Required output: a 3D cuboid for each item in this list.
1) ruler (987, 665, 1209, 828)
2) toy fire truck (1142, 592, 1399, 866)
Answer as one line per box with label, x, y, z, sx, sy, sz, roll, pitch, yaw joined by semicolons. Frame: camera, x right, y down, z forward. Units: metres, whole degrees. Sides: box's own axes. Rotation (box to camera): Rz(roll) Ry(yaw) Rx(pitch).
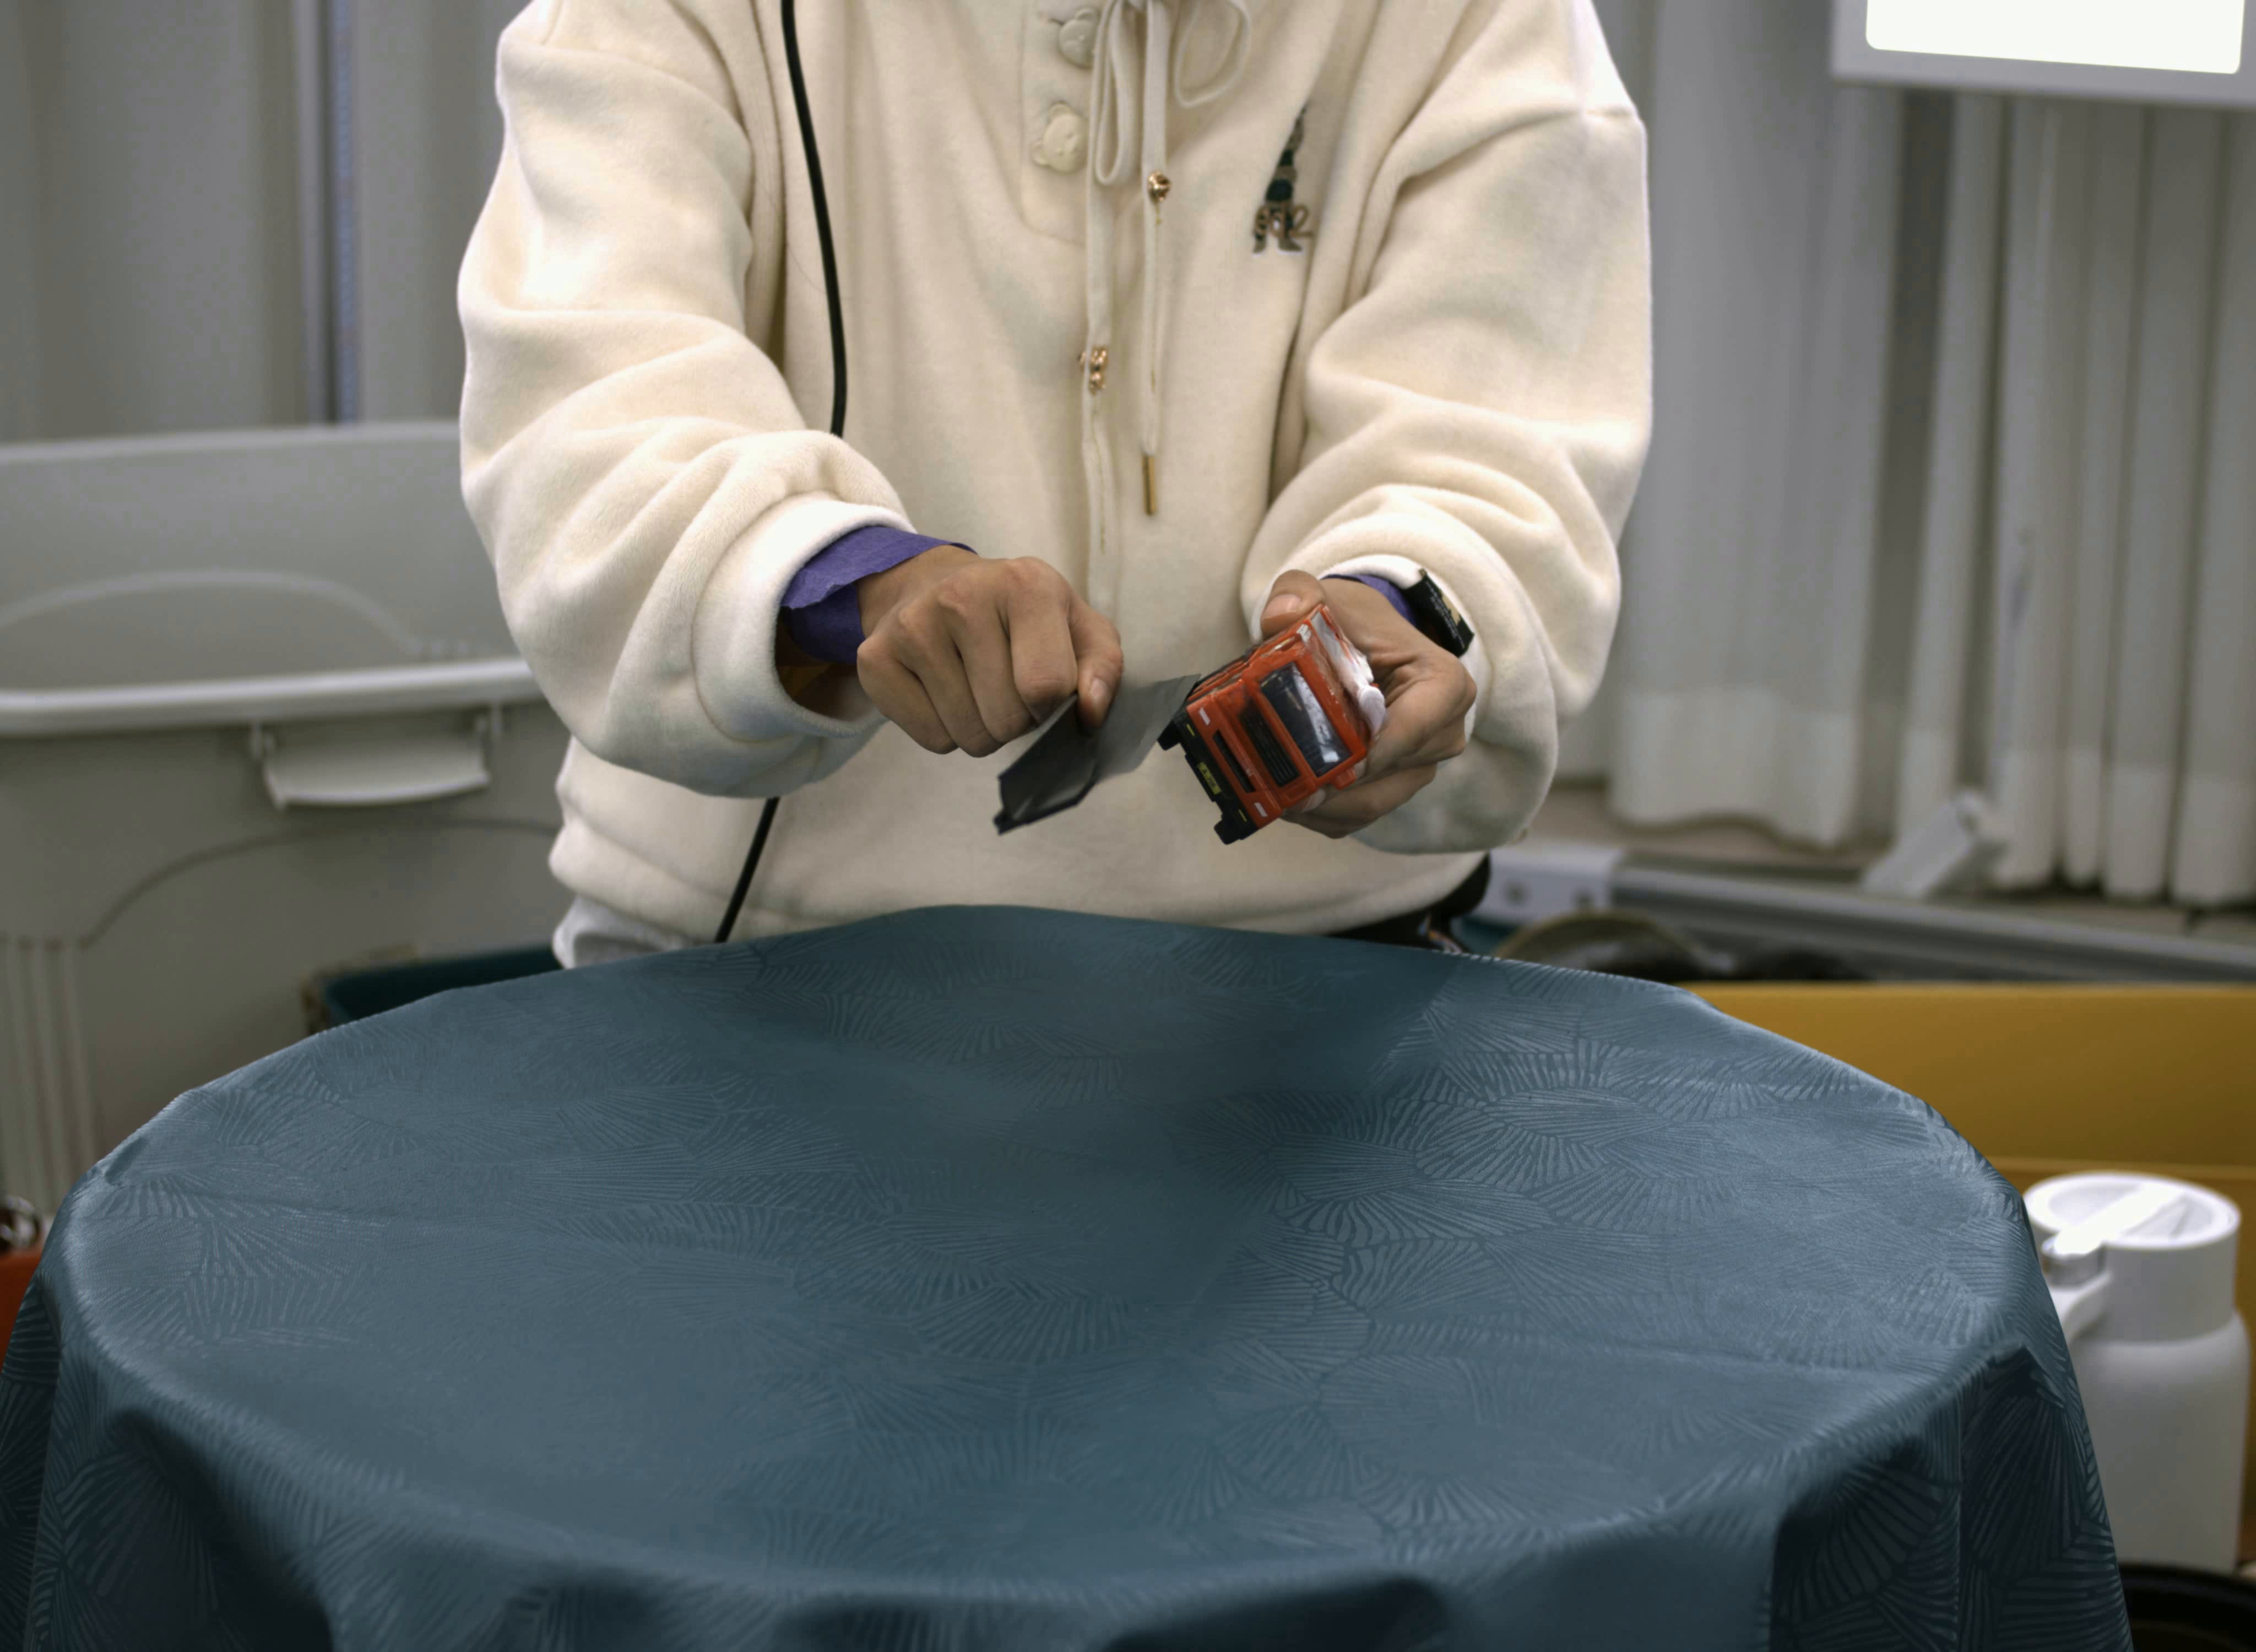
ruler;-0.008;-0.031;1.559;0.039;0.017;0.312;-19;5;8
toy fire truck;0.048;-0.032;1.633;0.070;0.054;0.168;-32;2;7
